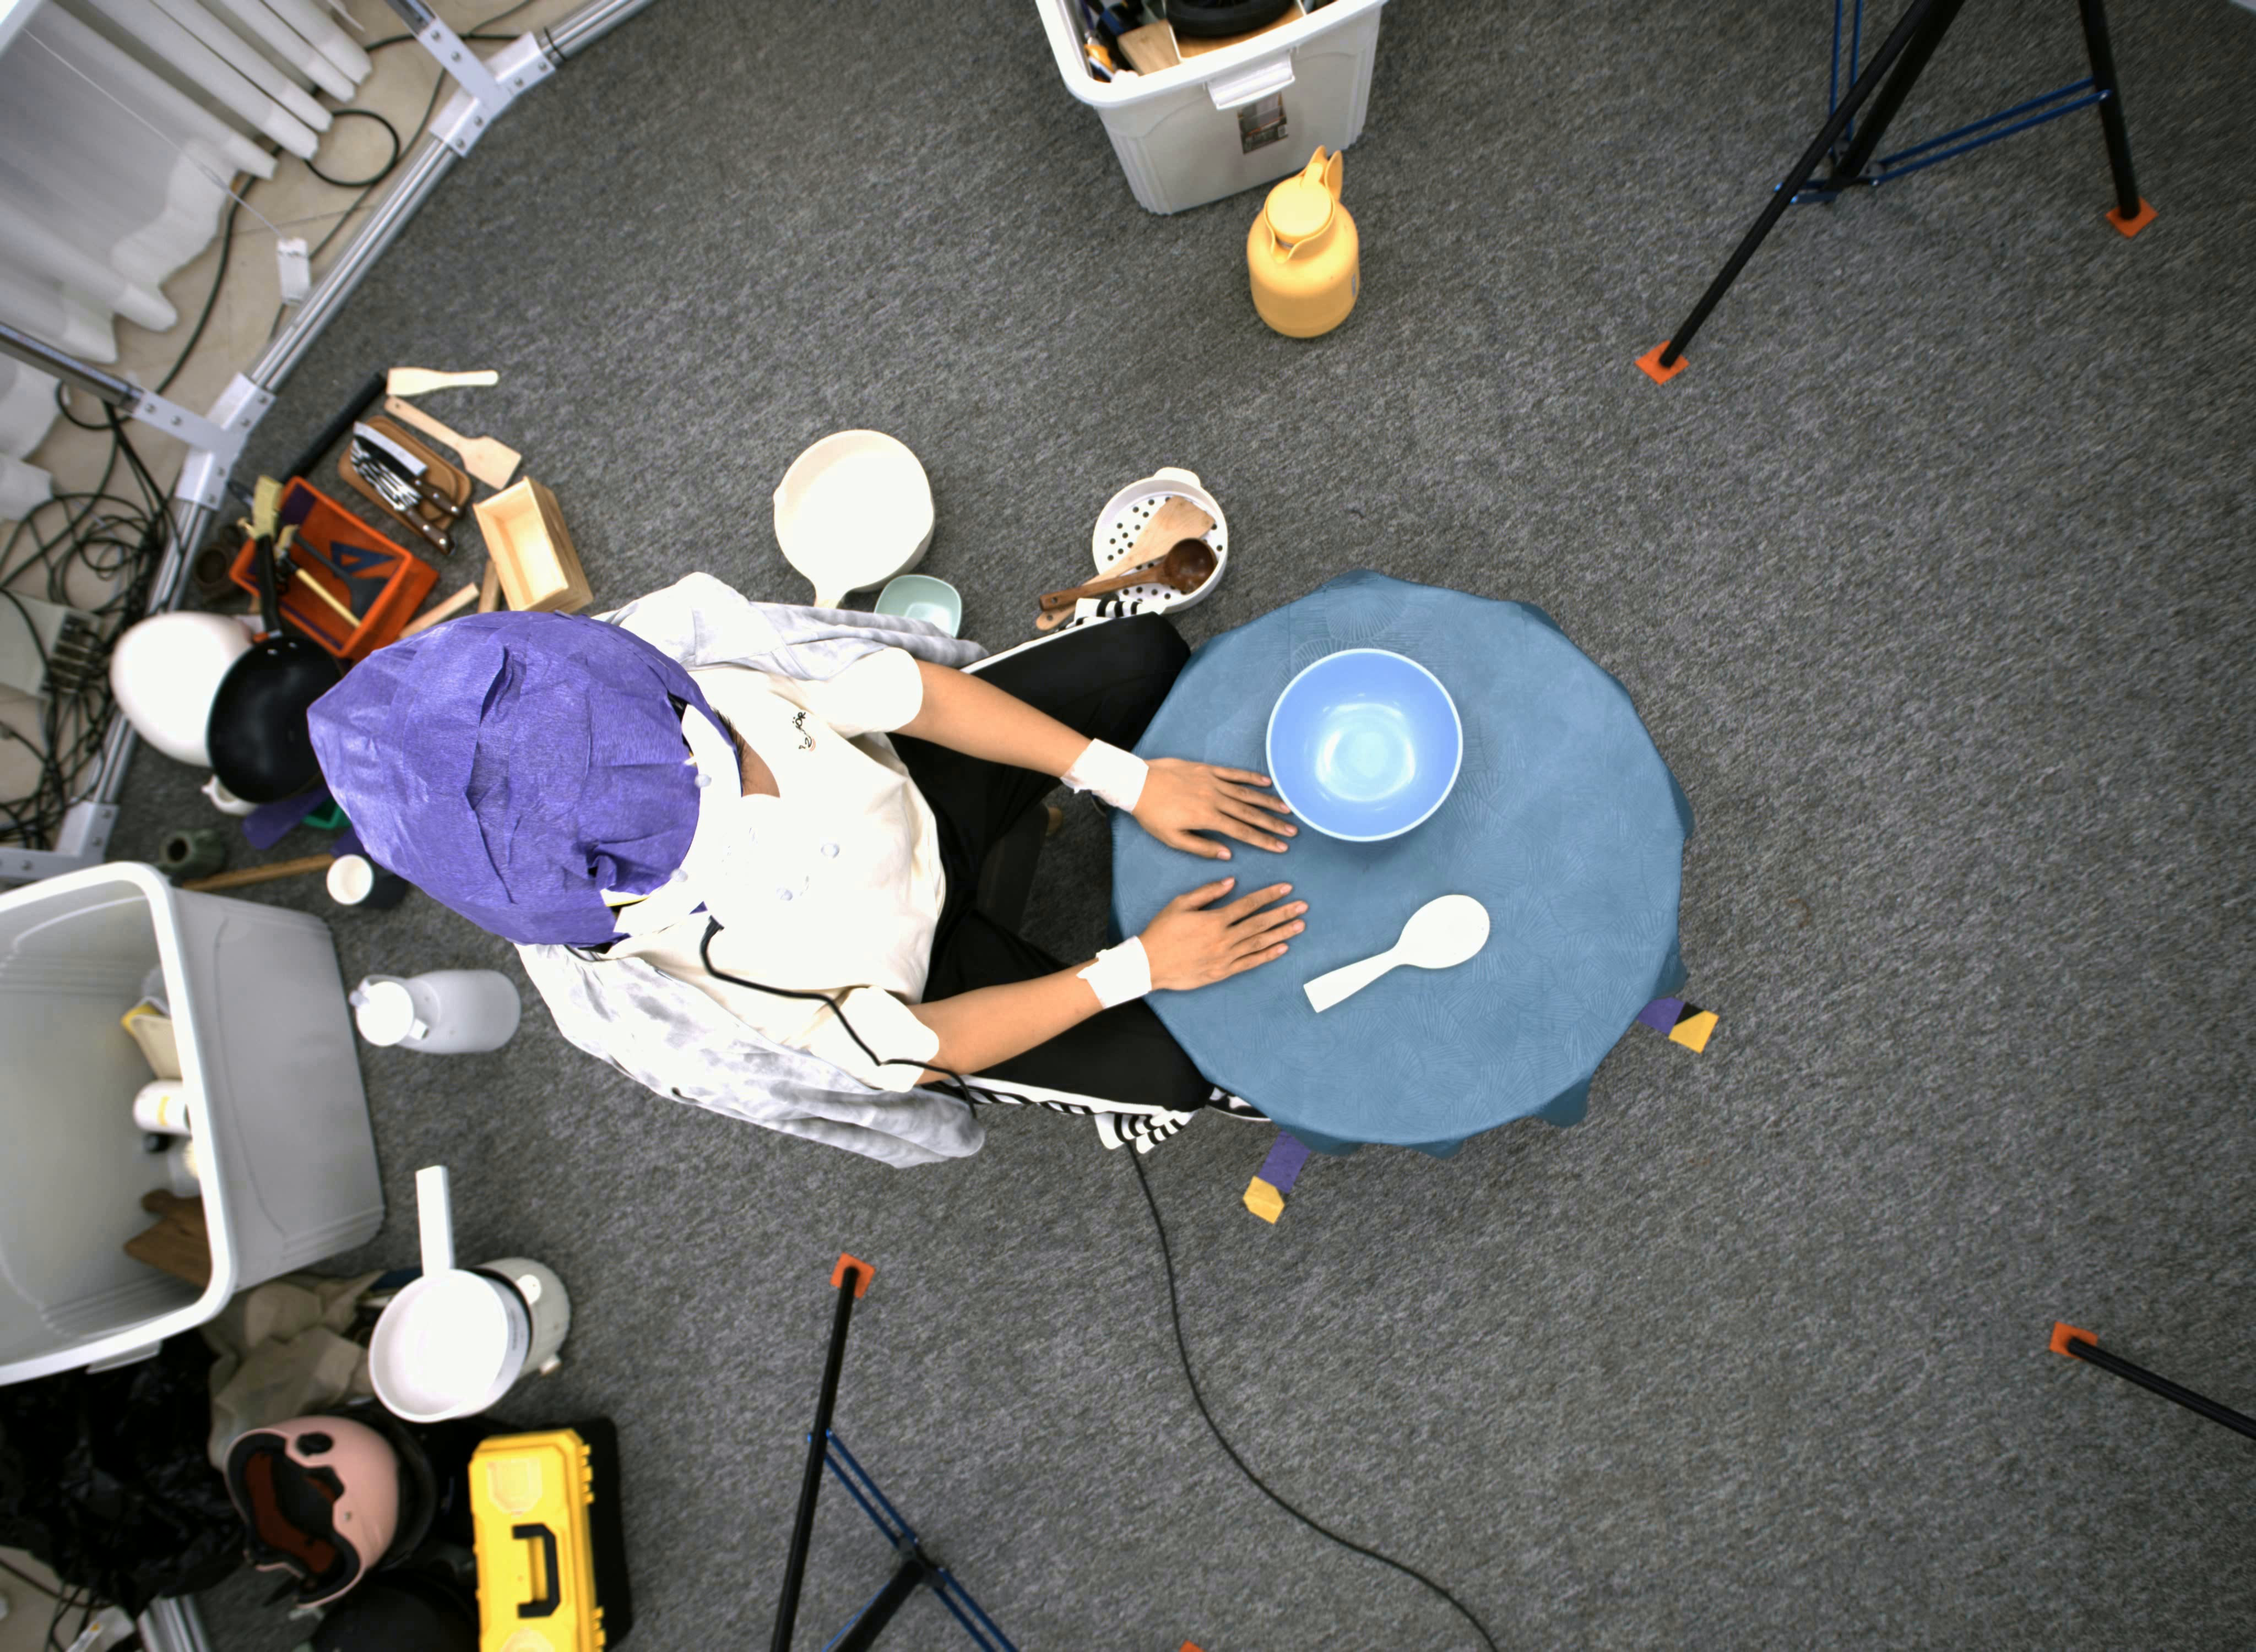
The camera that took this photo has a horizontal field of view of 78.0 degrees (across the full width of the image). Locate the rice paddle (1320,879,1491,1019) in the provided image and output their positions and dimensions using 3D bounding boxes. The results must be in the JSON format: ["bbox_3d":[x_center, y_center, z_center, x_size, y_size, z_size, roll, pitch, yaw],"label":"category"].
[{"bbox_3d":[0.290,0.127,1.441,0.207,0.029,0.068,-38,68,10],"label":"rice paddle"}]

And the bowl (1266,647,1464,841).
[{"bbox_3d":[0.243,-0.080,1.422,0.197,0.095,0.196,-1,87,9],"label":"bowl"}]
